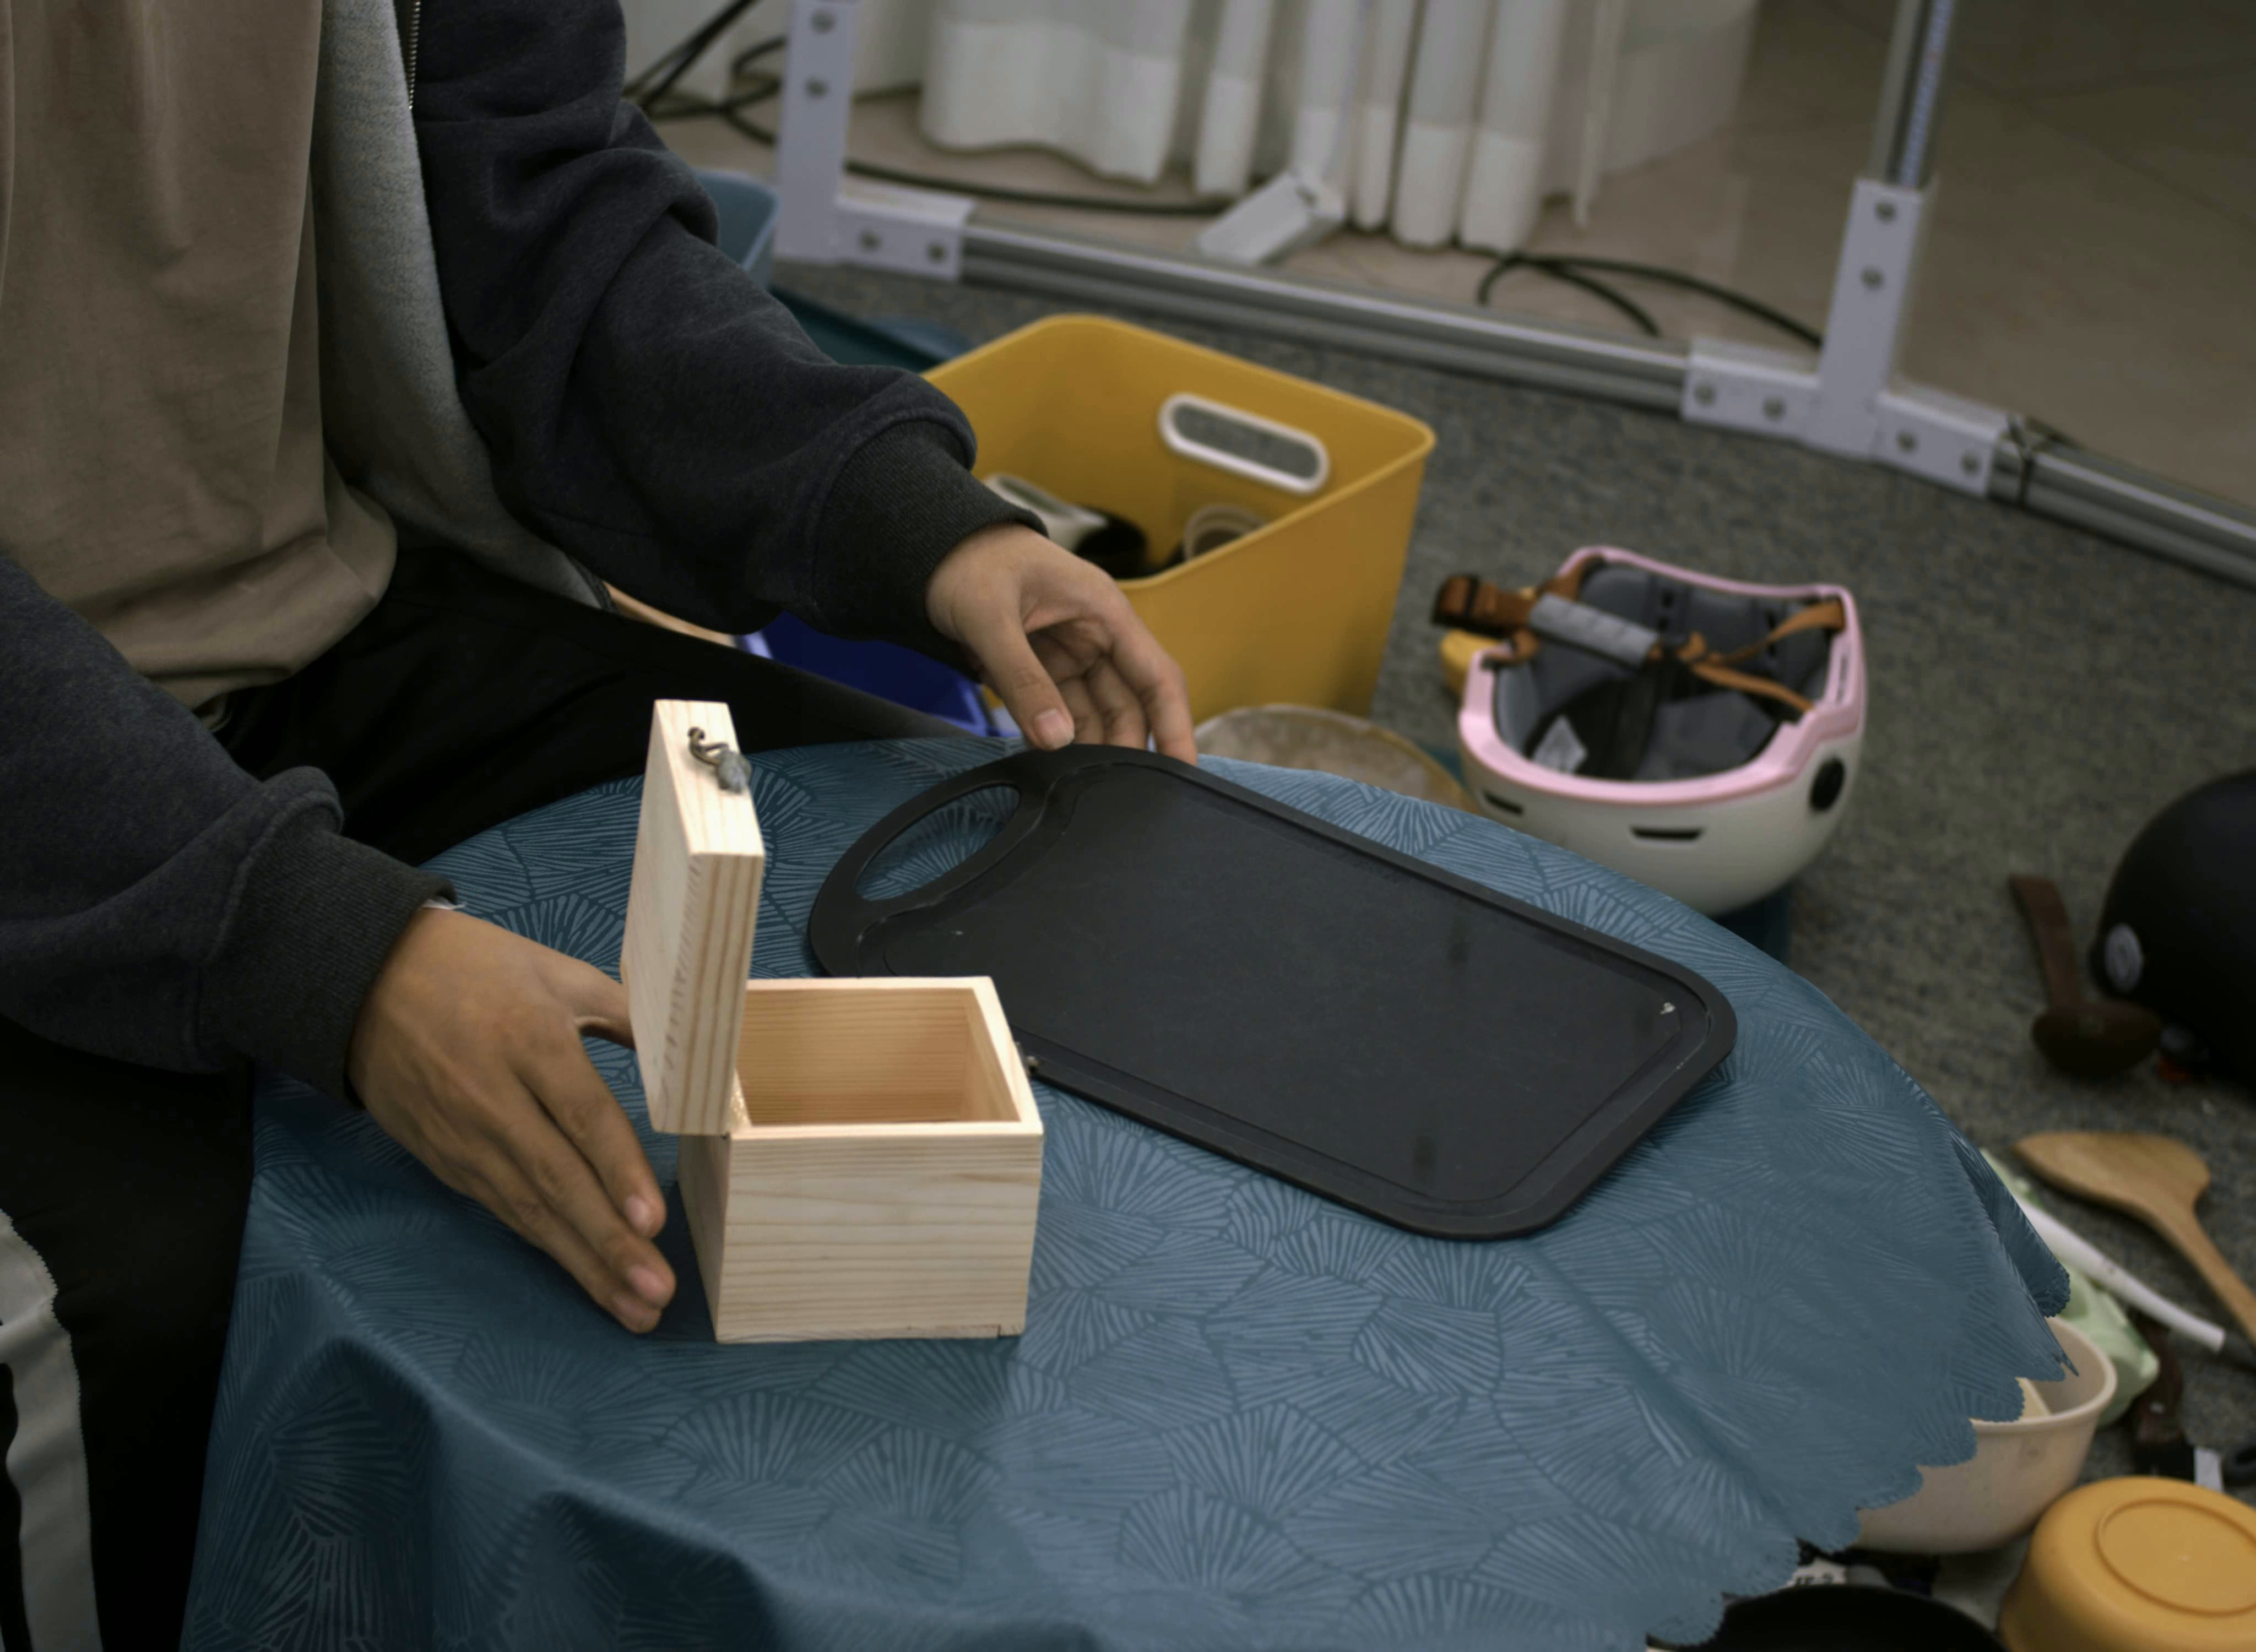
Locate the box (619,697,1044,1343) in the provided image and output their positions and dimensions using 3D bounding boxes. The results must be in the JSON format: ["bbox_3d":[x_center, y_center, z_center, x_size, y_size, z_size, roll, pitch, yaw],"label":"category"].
[{"bbox_3d":[-0.092,0.061,1.701,0.133,0.184,0.103,-1,28,-12],"label":"box"}]

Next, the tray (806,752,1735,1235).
[{"bbox_3d":[0.044,0.052,1.926,0.327,0.010,0.211,22,35,26],"label":"tray"}]
